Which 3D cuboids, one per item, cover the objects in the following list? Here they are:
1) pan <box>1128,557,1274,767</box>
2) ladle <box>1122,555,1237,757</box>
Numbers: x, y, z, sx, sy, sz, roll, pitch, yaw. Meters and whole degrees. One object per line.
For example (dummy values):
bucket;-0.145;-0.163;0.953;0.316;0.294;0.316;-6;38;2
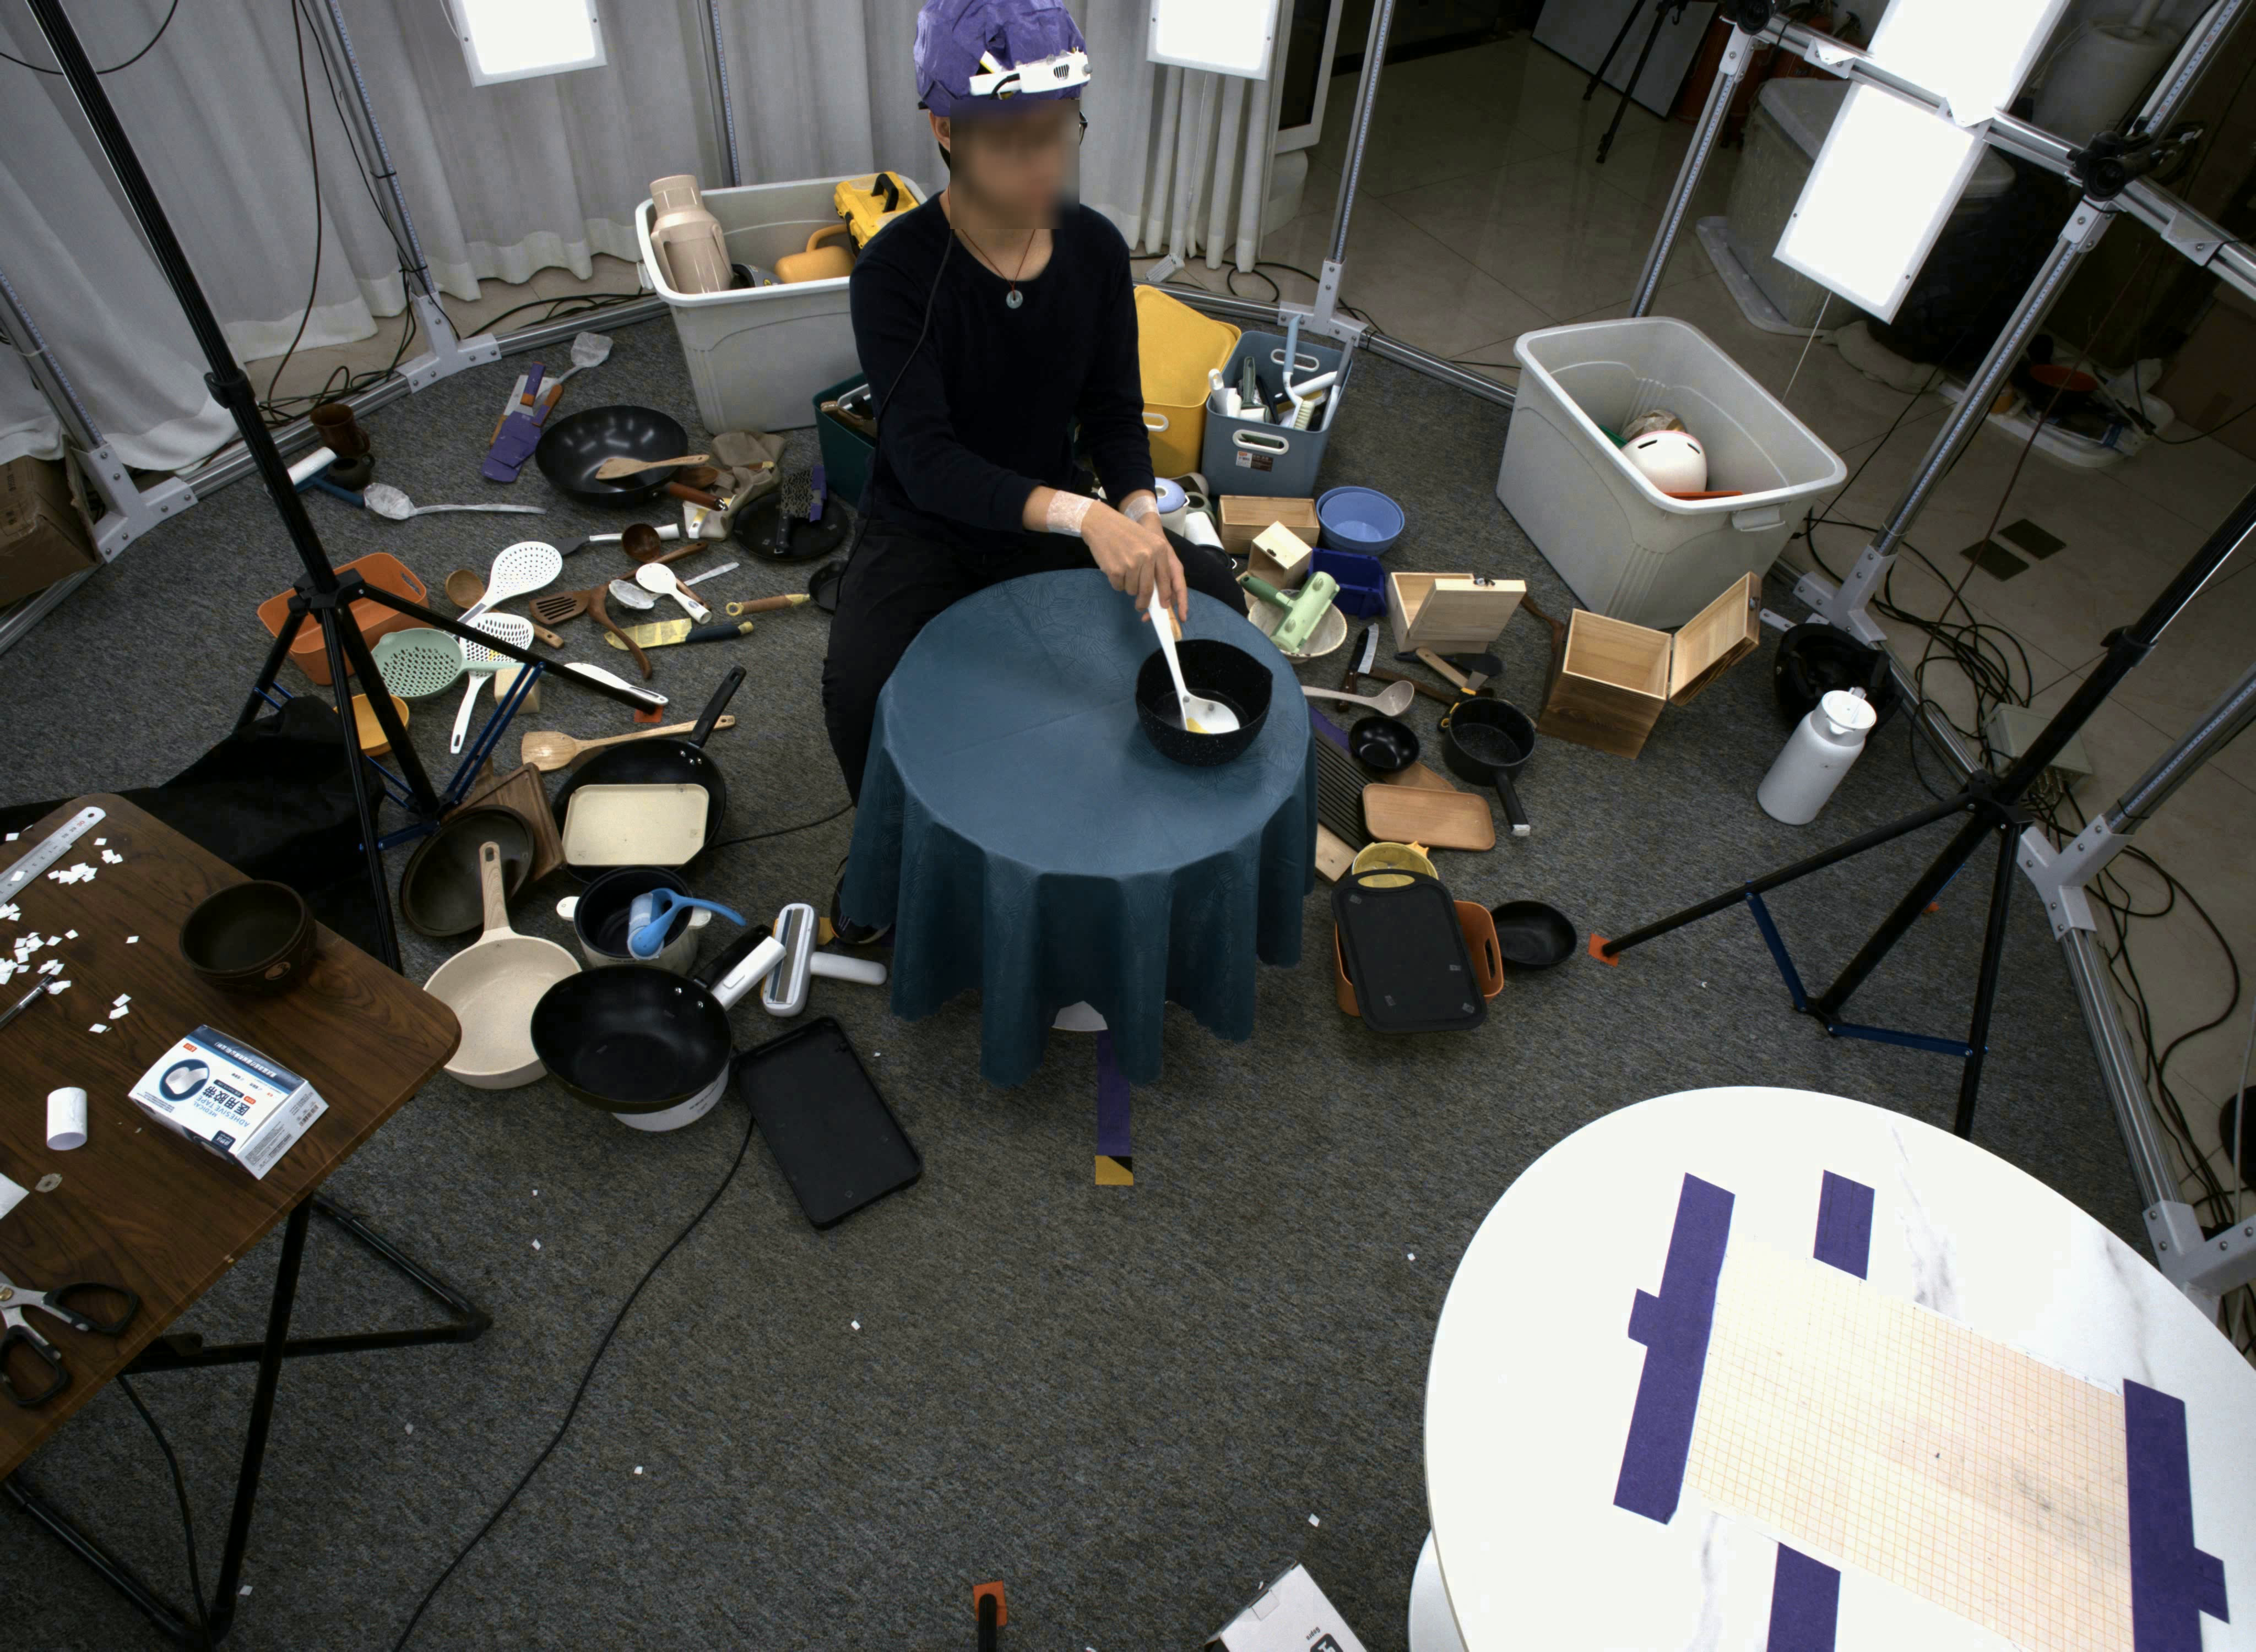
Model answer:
pan;0.075;-0.231;1.805;0.207;0.105;0.351;-14;53;-14
ladle;0.067;-0.221;1.695;0.091;0.287;0.071;-40;35;-27
